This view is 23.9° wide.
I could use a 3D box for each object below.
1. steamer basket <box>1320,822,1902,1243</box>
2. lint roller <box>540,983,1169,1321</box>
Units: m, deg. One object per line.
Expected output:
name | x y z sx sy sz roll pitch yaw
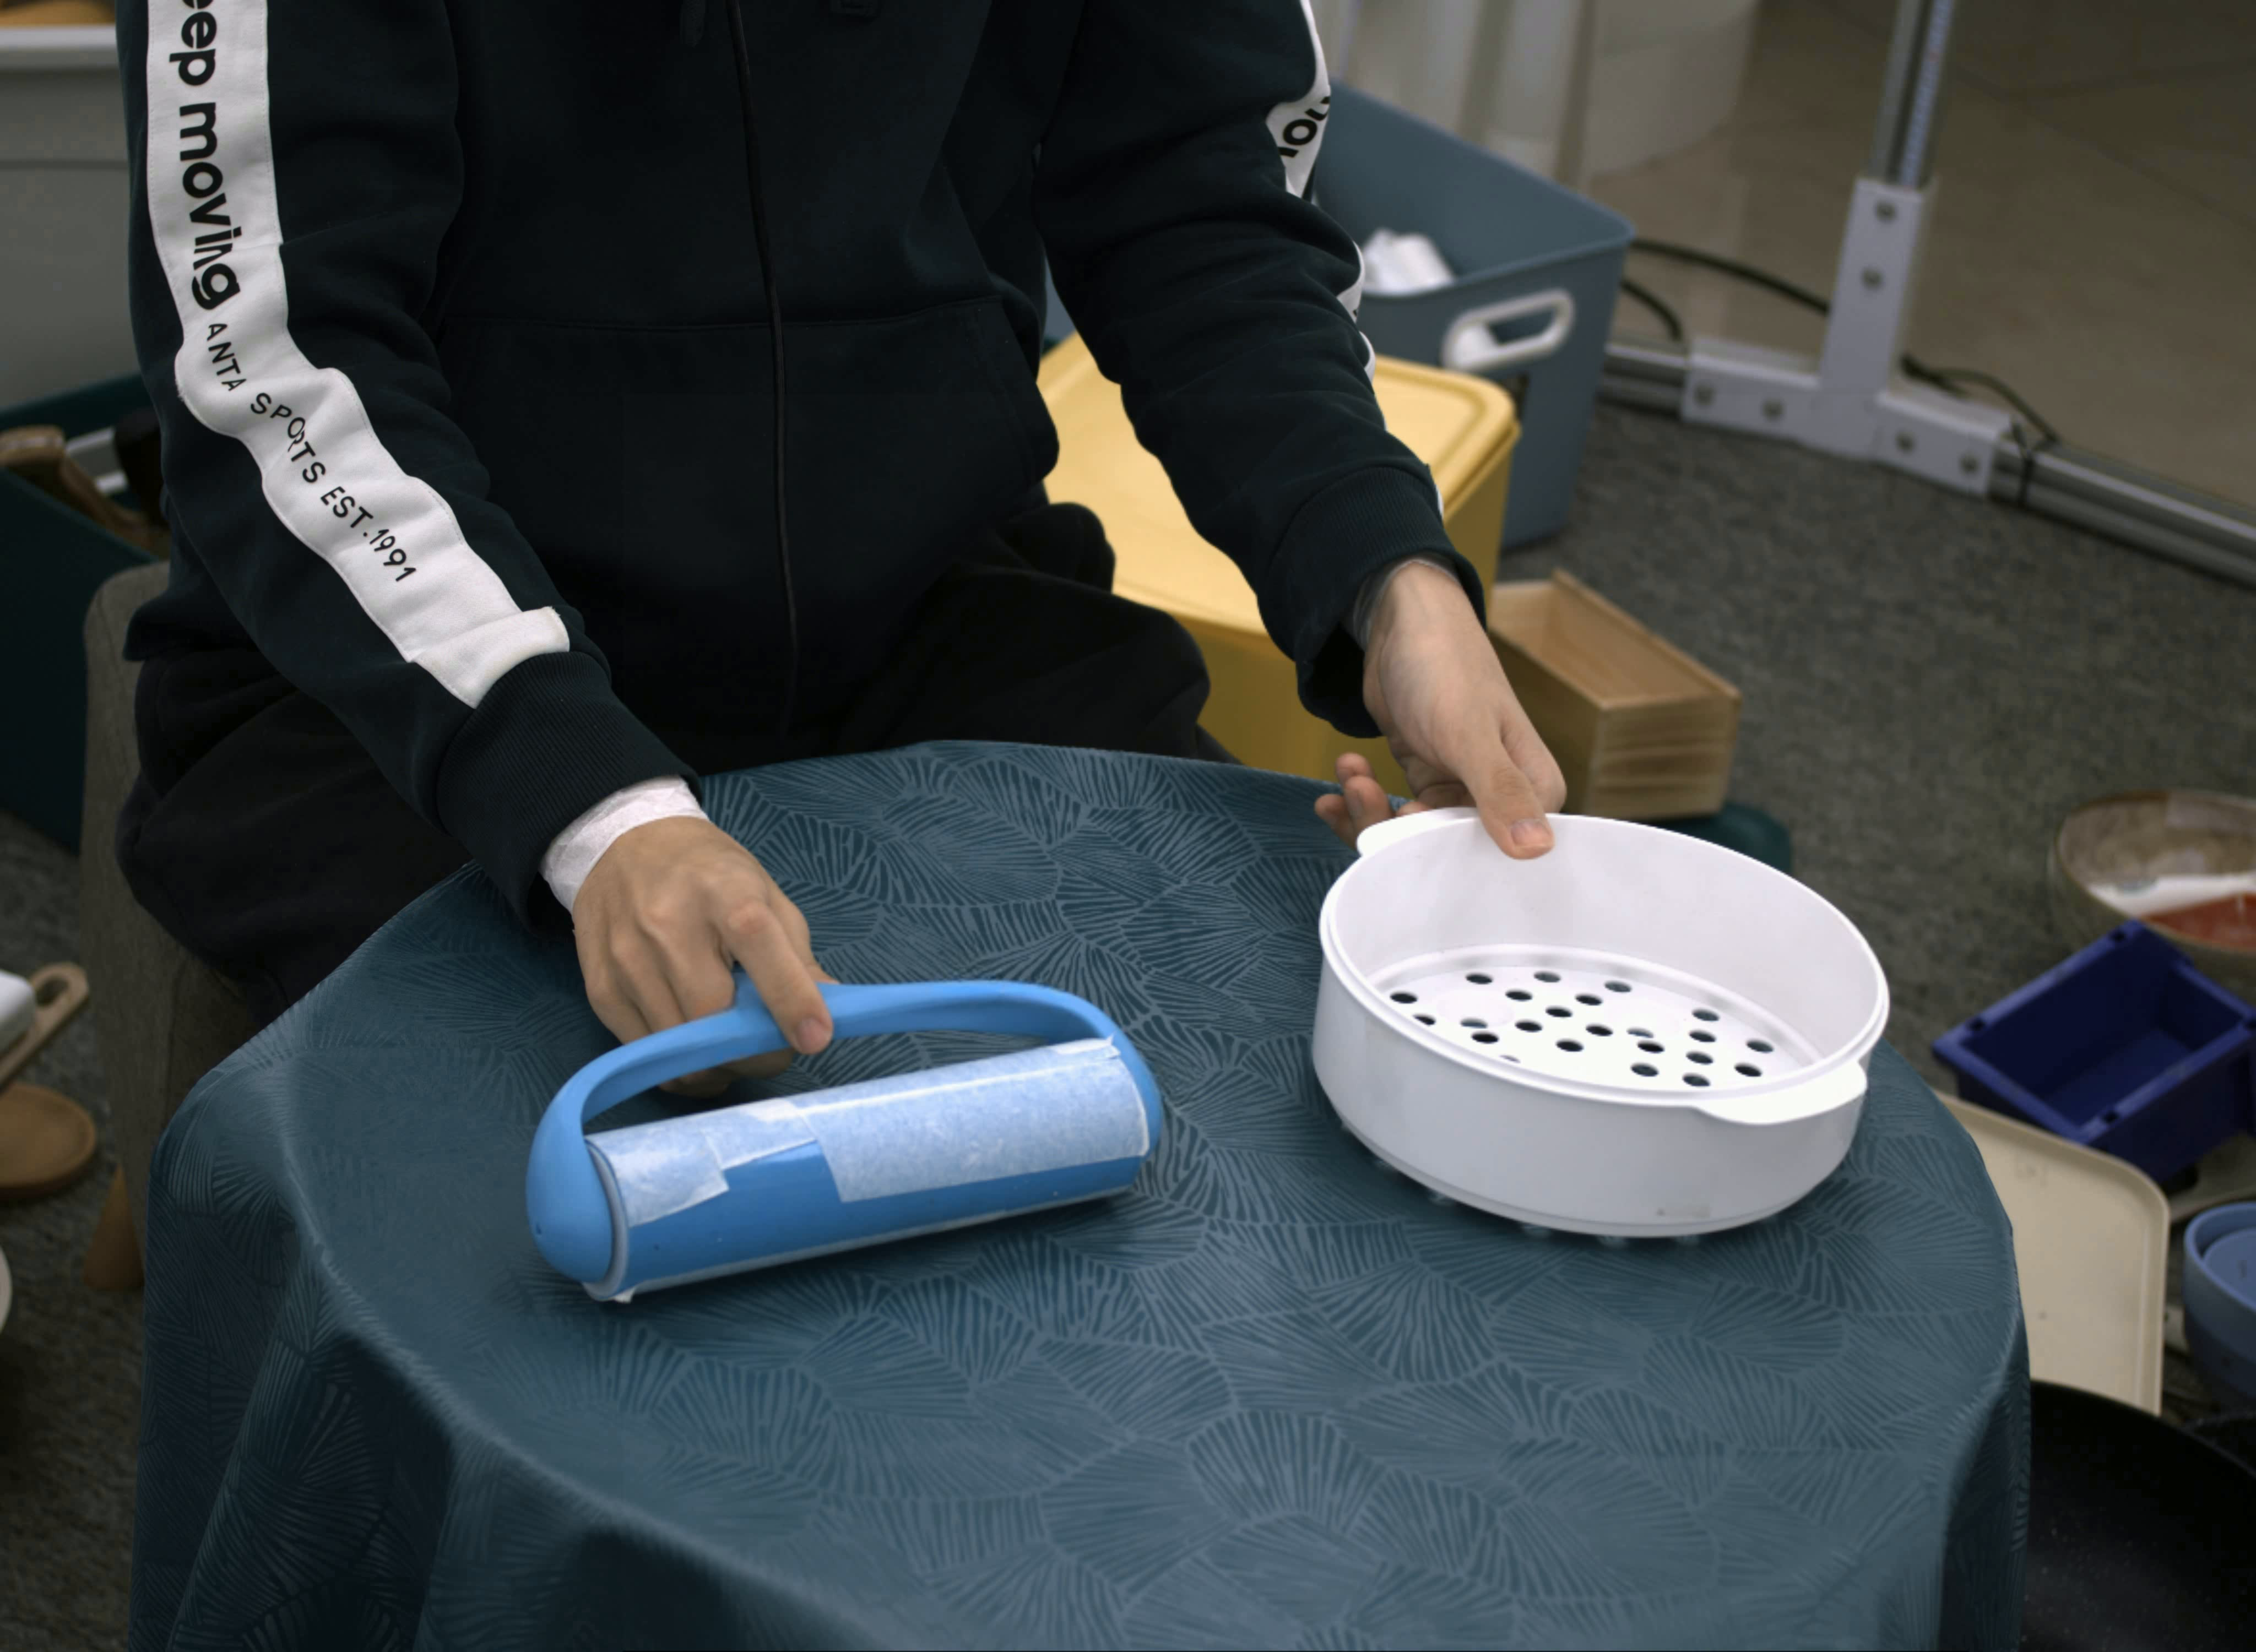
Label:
steamer basket | 0.166 0.073 1.860 0.200 0.069 0.232 -11 31 -32
lint roller | -0.119 0.087 1.783 0.227 0.067 0.182 -14 34 -31
